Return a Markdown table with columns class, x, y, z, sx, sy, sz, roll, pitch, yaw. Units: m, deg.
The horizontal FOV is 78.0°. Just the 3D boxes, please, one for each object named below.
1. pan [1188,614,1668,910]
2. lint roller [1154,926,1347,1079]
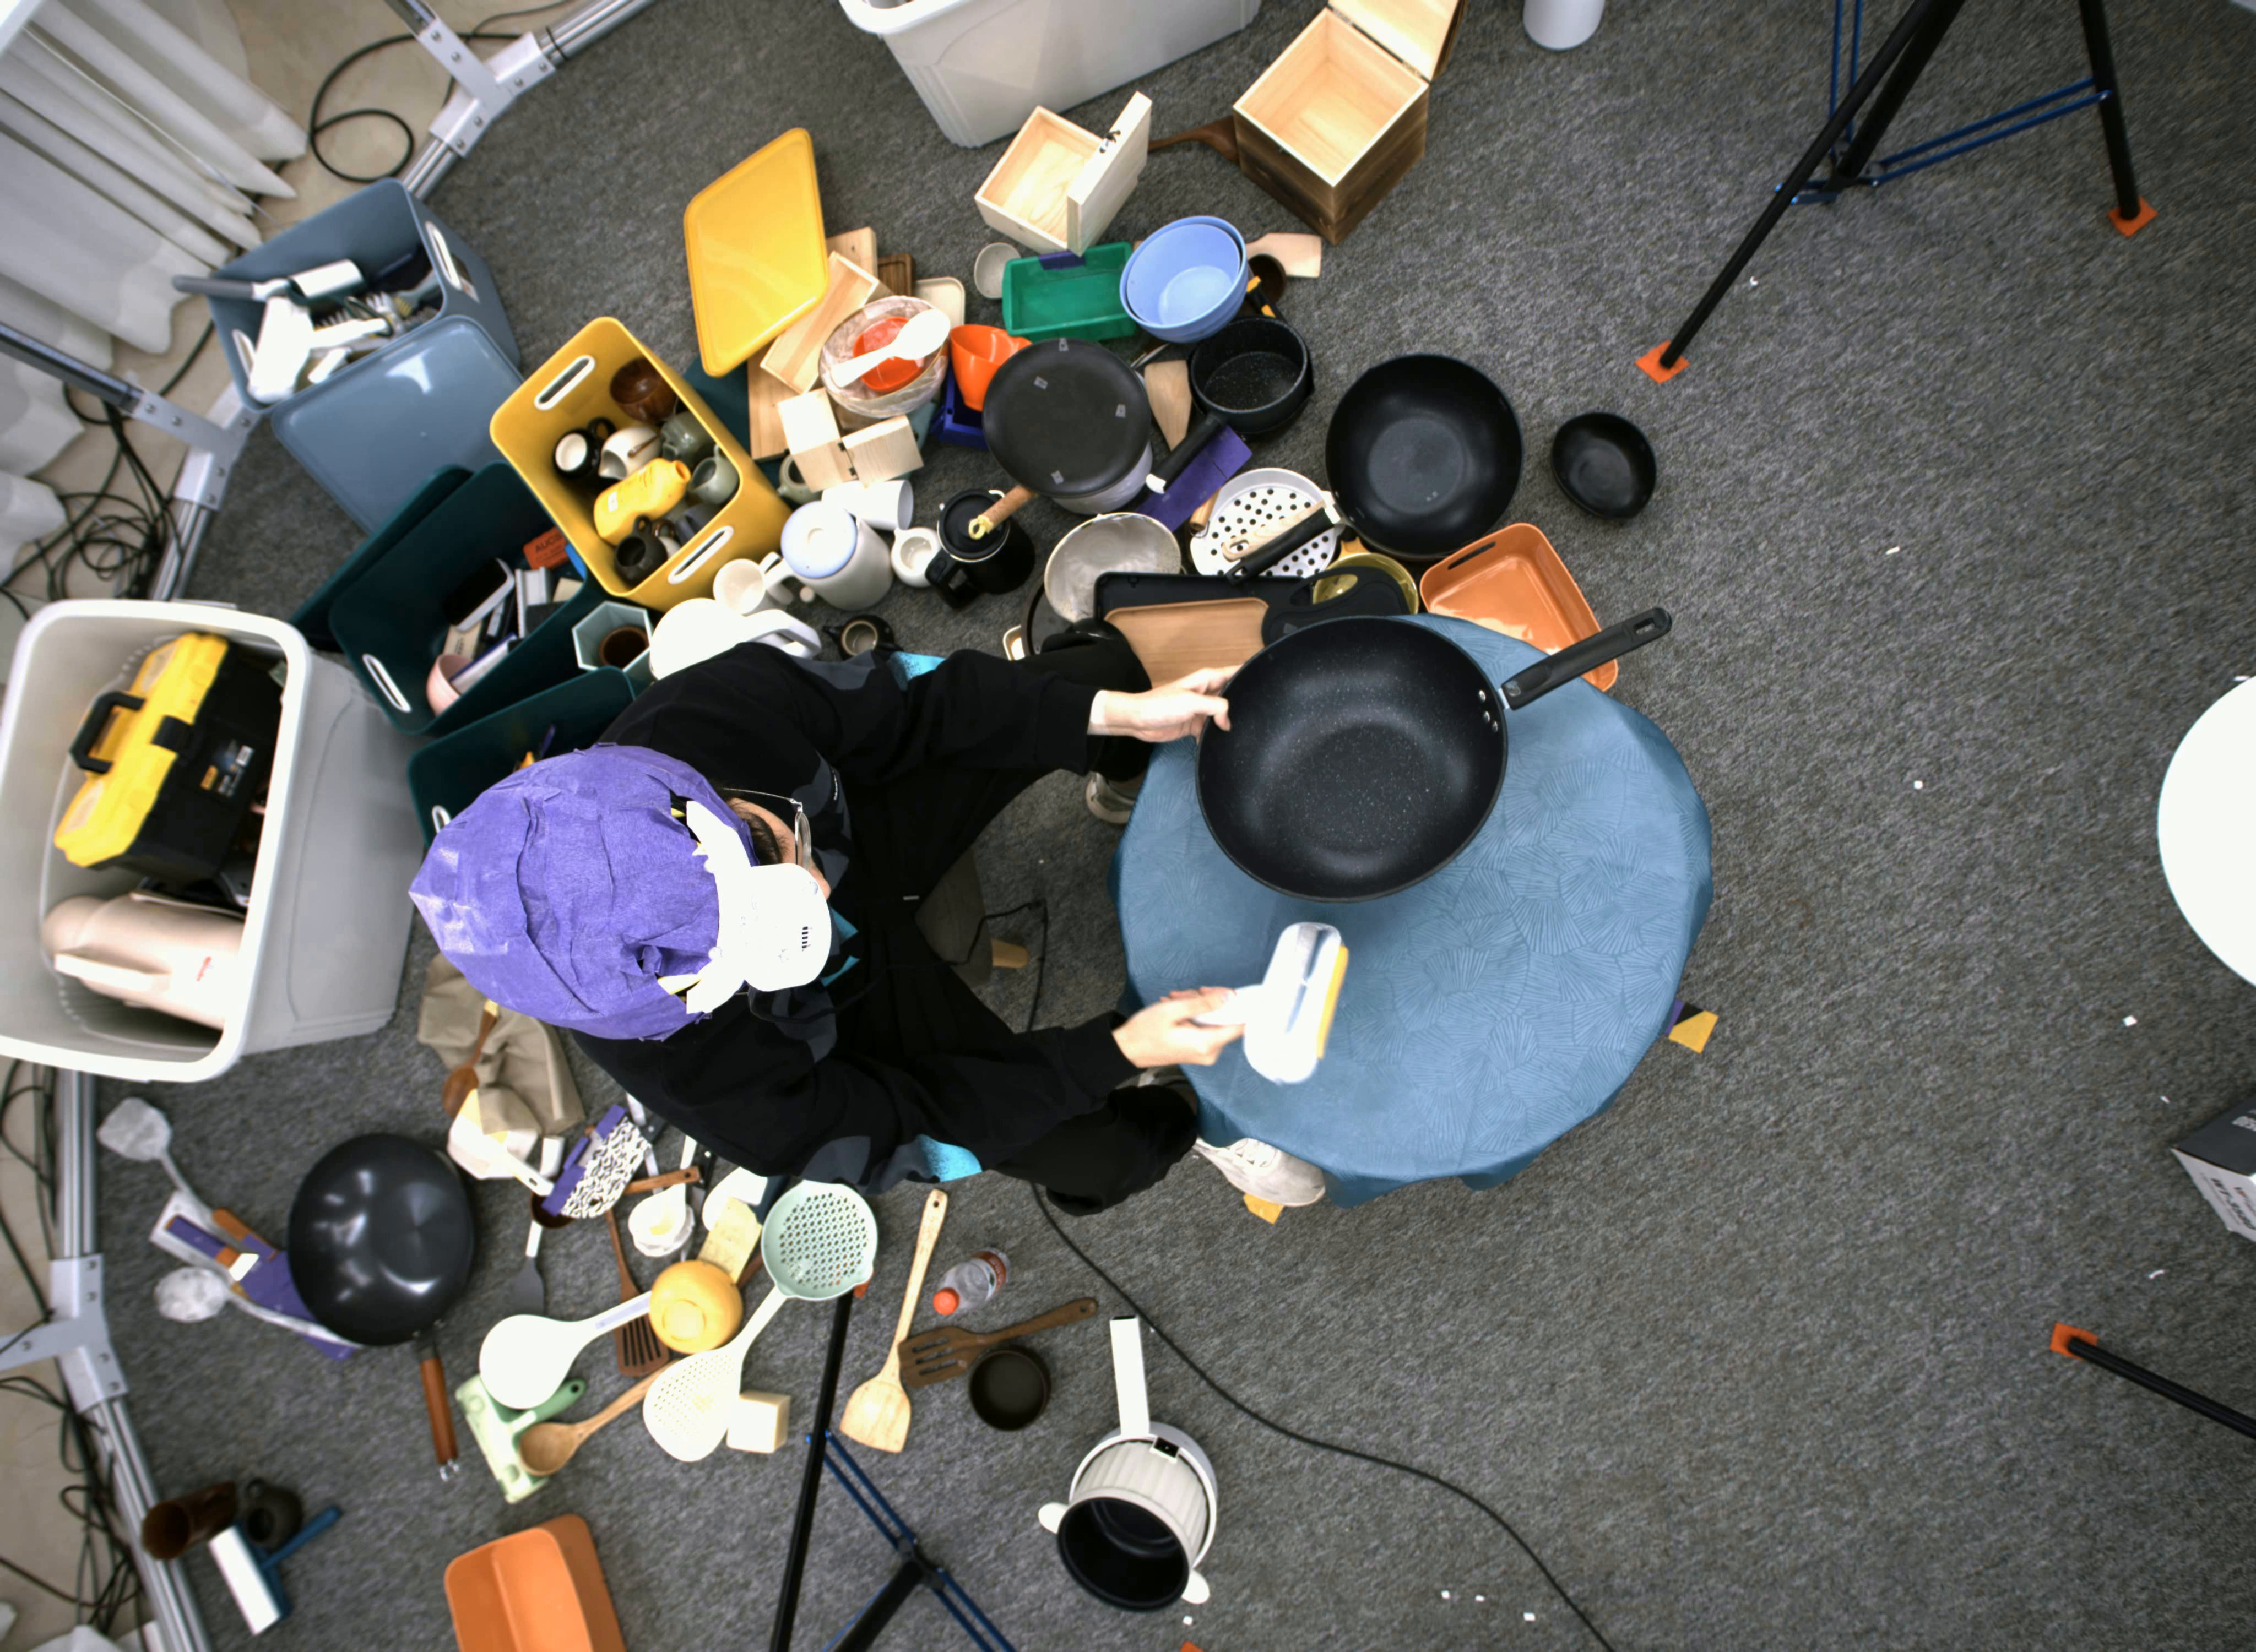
| class | x | y | z | sx | sy | sz | roll | pitch | yaw |
| --- | --- | --- | --- | --- | --- | --- | --- | --- | --- |
| pan | 0.292 | -0.088 | 1.344 | 0.481 | 0.113 | 0.304 | -21 | 65 | 14 |
| lint roller | 0.107 | 0.173 | 1.365 | 0.194 | 0.188 | 0.075 | -2 | 126 | 30 |
